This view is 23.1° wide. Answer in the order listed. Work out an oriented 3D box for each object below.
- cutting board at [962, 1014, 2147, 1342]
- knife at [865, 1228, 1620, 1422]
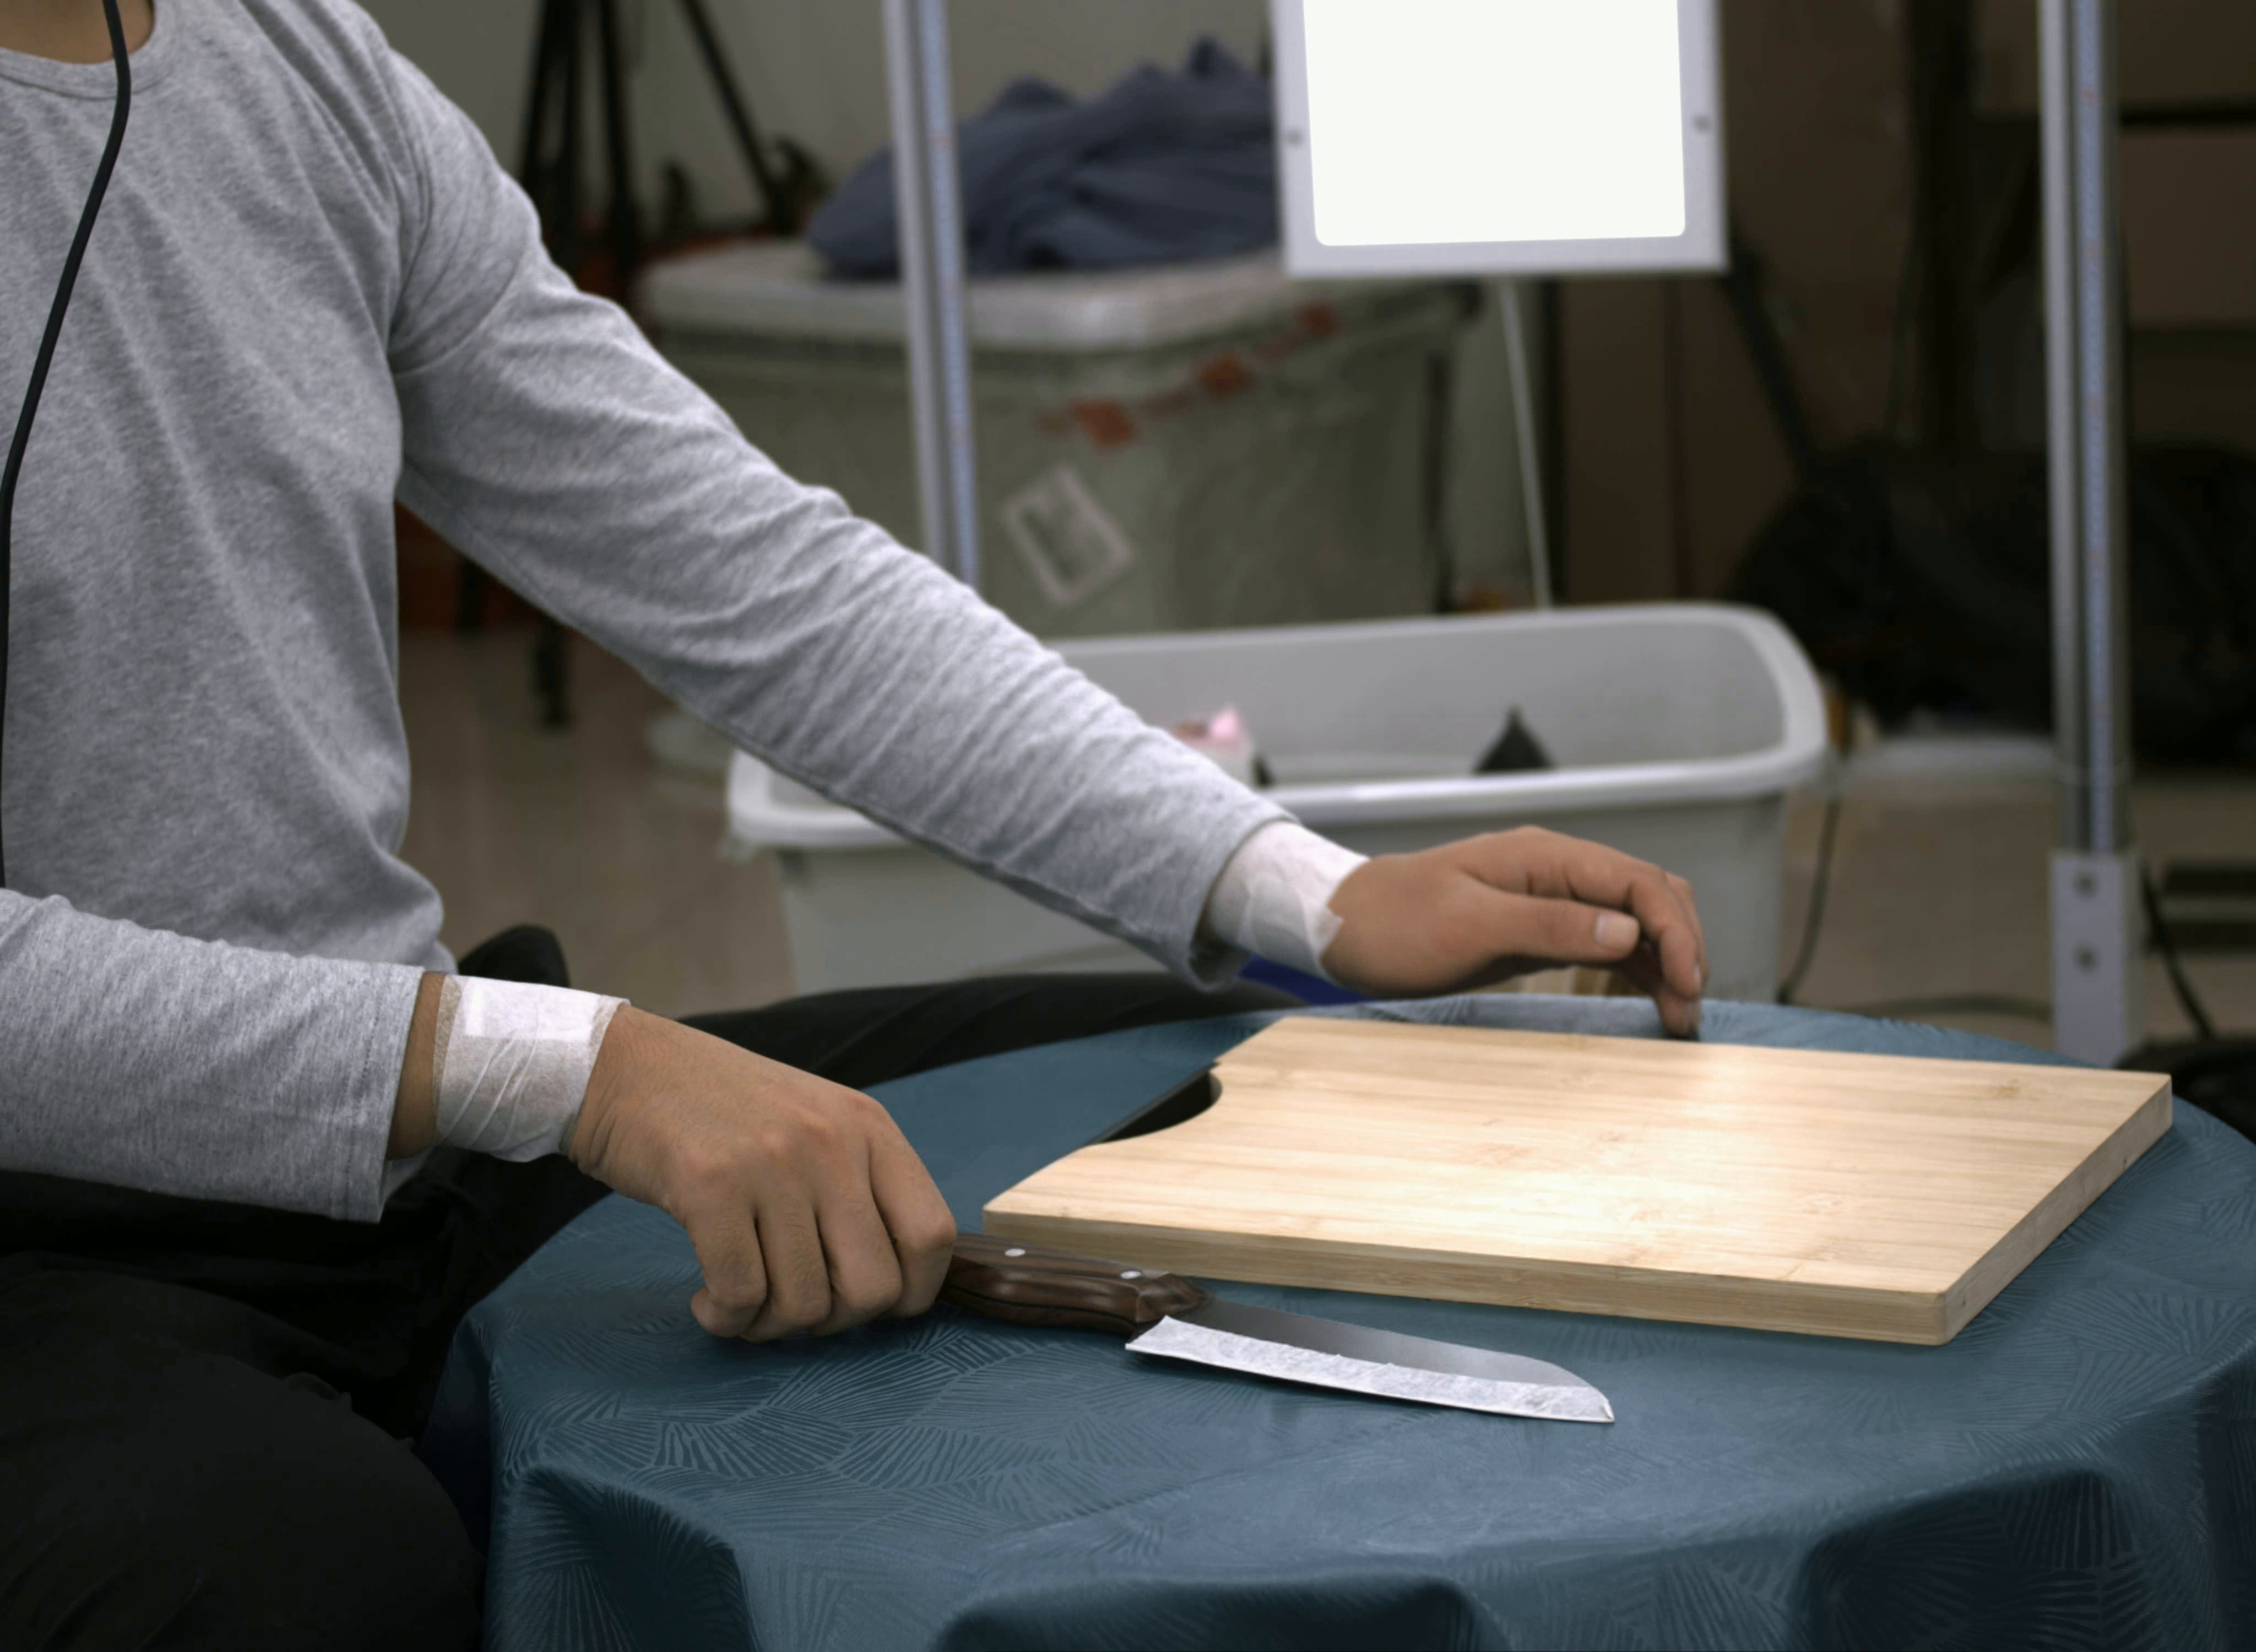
[{"bbox_3d":[0.150,0.115,1.862,0.355,0.023,0.245,2,15,29],"label":"cutting board"},{"bbox_3d":[0.031,0.159,1.729,0.295,0.020,0.049,8,24,36],"label":"knife"}]
